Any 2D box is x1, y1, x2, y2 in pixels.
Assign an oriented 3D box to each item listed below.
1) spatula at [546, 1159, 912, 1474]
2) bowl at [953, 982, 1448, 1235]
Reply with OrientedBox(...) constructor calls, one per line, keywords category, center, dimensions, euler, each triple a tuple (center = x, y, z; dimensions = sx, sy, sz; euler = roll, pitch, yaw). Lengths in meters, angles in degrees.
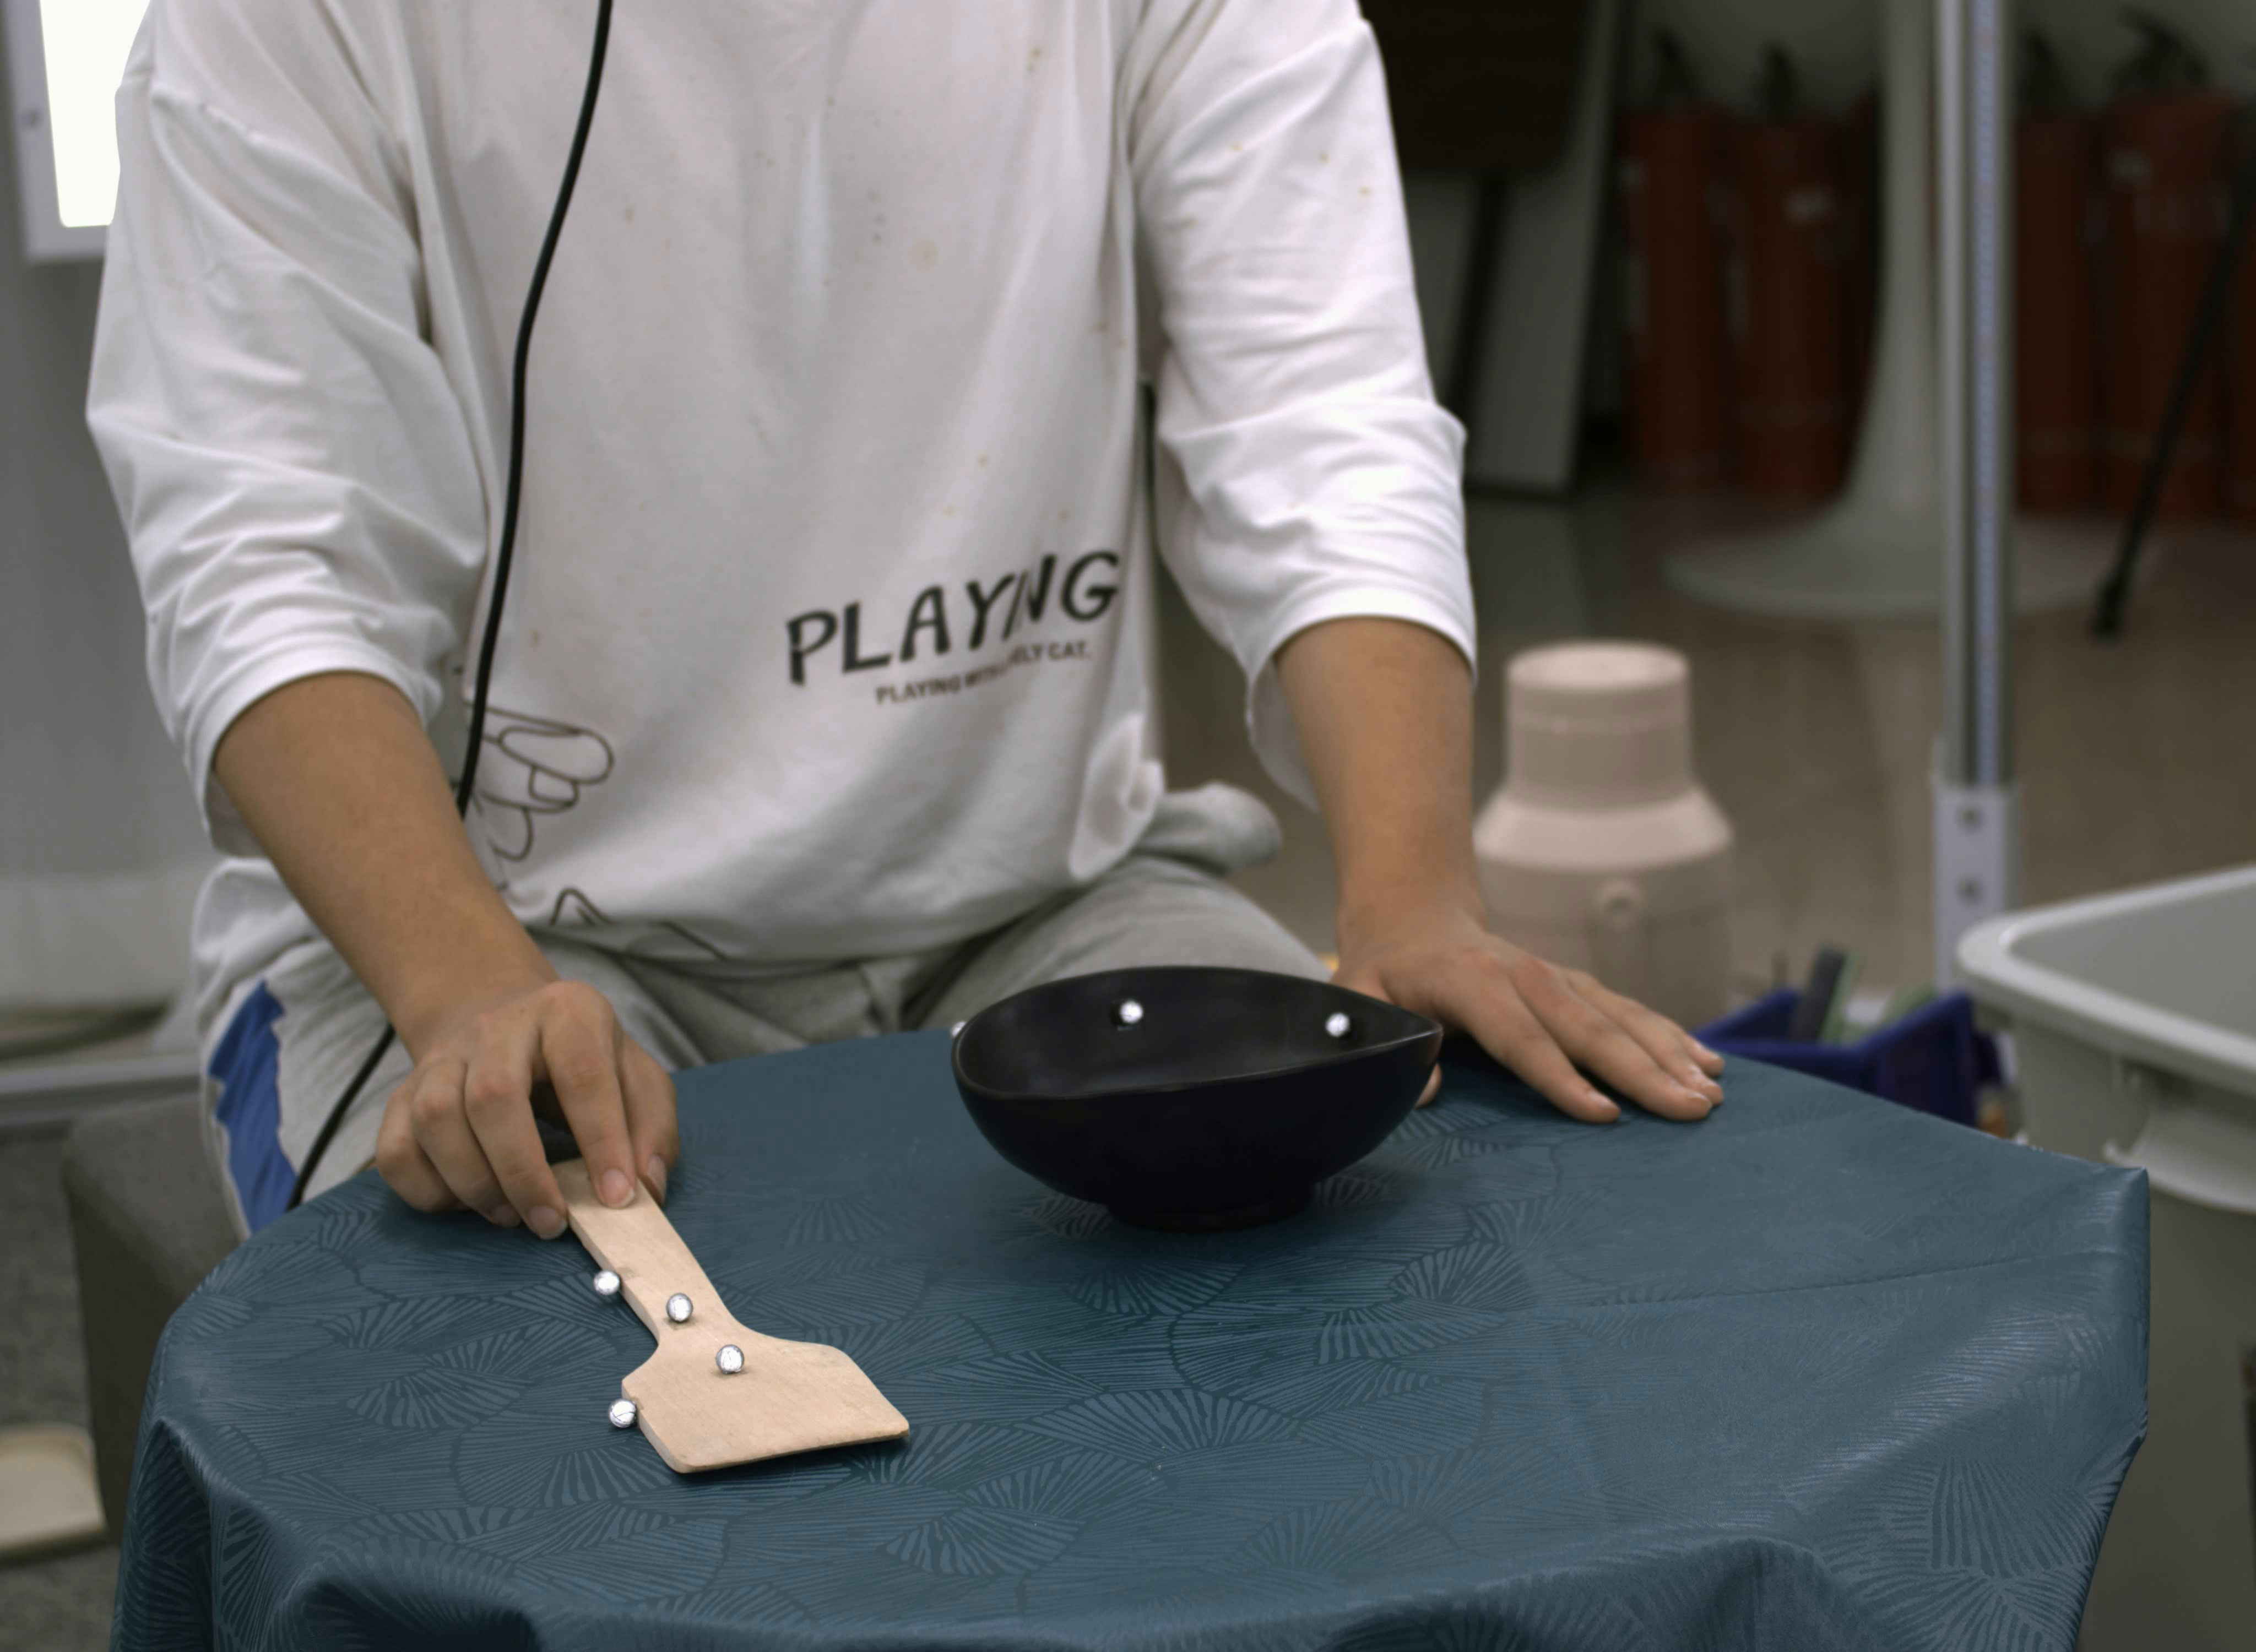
OrientedBox(category="spatula", center=(-0.139, 0.149, 1.675), dimensions=(0.071, 0.011, 0.295), euler=(-9, 15, -16))
OrientedBox(category="bowl", center=(0.024, 0.093, 1.751), dimensions=(0.166, 0.067, 0.139), euler=(-9, 13, -29))
